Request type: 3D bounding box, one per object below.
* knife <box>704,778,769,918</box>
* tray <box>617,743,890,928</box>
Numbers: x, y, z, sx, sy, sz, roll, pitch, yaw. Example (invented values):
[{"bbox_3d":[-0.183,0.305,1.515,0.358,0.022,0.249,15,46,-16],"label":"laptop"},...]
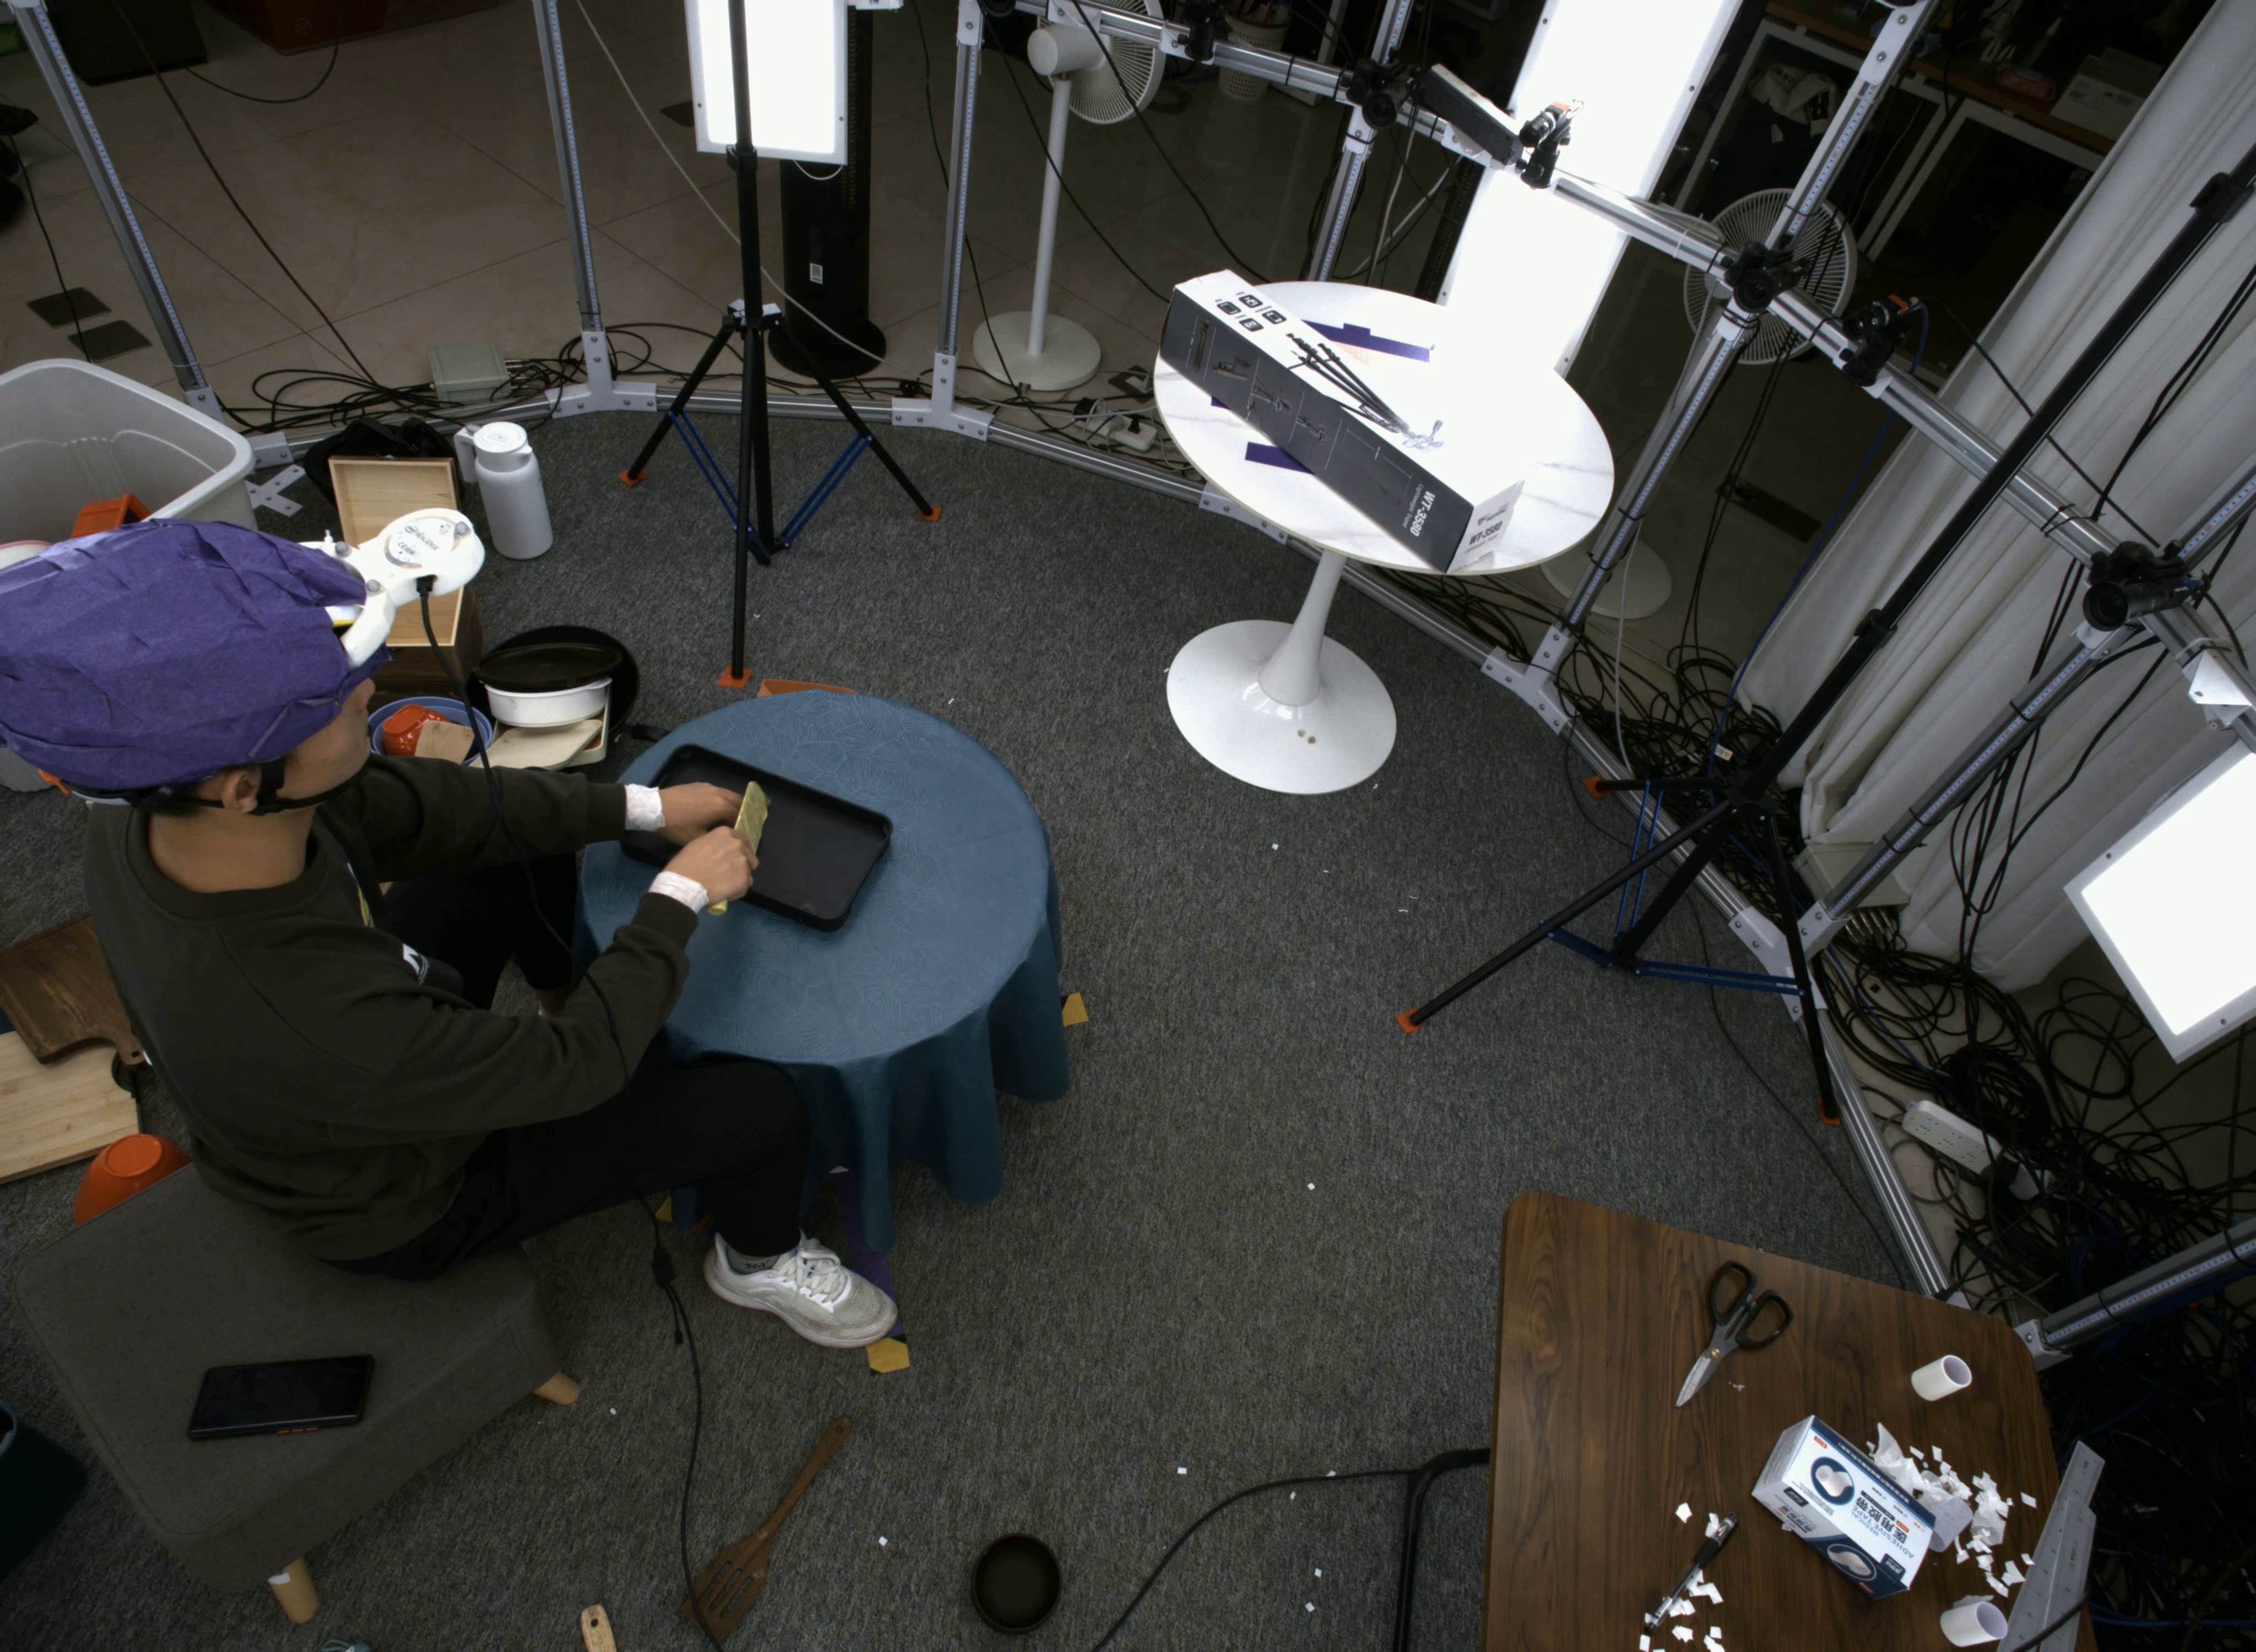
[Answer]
[{"bbox_3d":[-0.480,0.028,1.608,0.027,0.084,0.283,-7,33,3],"label":"knife"},{"bbox_3d":[-0.487,0.009,1.688,0.315,0.038,0.182,19,52,0],"label":"tray"}]
